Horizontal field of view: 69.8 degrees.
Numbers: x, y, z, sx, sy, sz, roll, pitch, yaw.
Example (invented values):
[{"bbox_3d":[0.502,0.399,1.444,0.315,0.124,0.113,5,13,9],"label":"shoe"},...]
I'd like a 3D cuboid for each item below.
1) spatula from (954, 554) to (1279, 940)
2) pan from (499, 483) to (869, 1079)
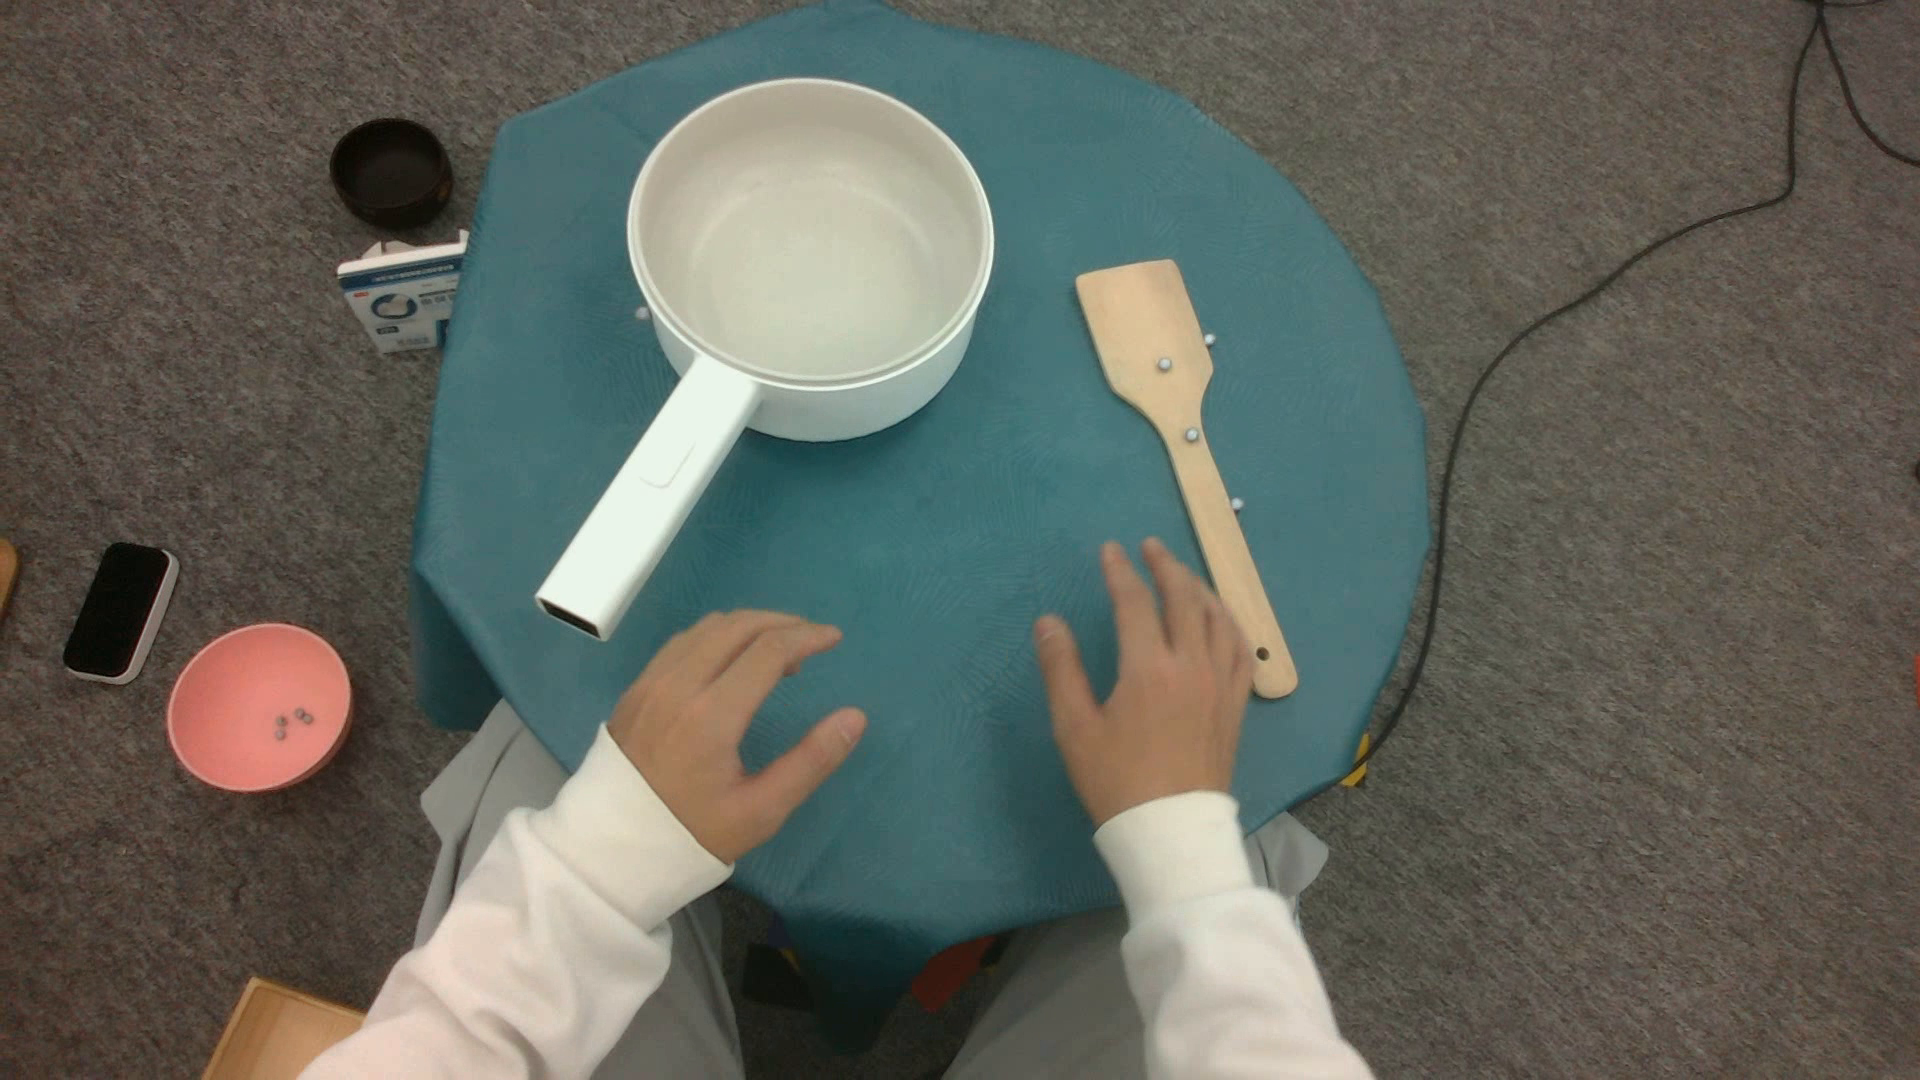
[{"bbox_3d":[0.099,0.122,0.854,0.072,0.010,0.293,-25,57,-19],"label":"spatula"},{"bbox_3d":[-0.168,0.134,0.794,0.201,0.101,0.356,8,55,6],"label":"pan"}]
